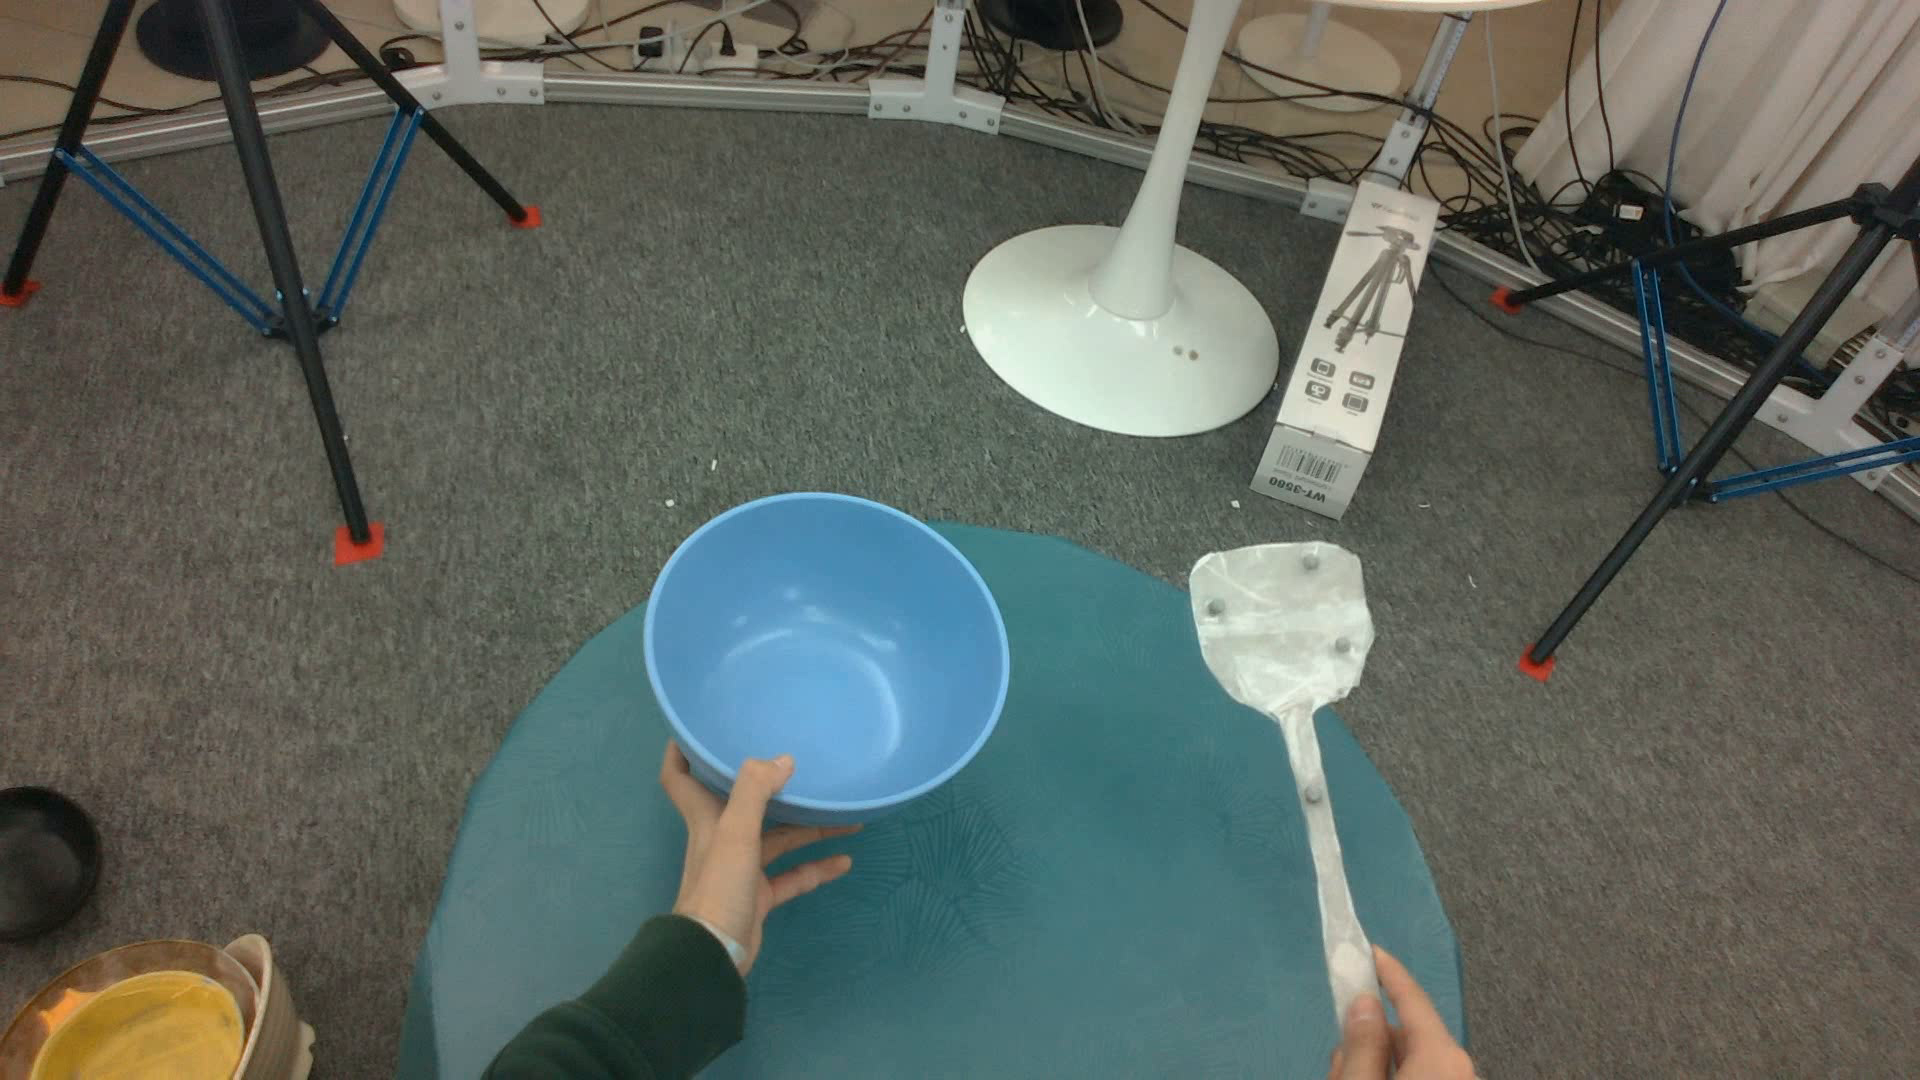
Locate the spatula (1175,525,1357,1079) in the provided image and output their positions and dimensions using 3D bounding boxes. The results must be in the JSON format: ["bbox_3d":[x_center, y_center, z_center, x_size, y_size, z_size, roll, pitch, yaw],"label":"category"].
[{"bbox_3d":[0.170,0.140,0.691,0.098,0.044,0.366,-3,47,5],"label":"spatula"}]

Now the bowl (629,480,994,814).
[{"bbox_3d":[-0.087,0.072,0.765,0.196,0.095,0.197,10,51,-12],"label":"bowl"}]
